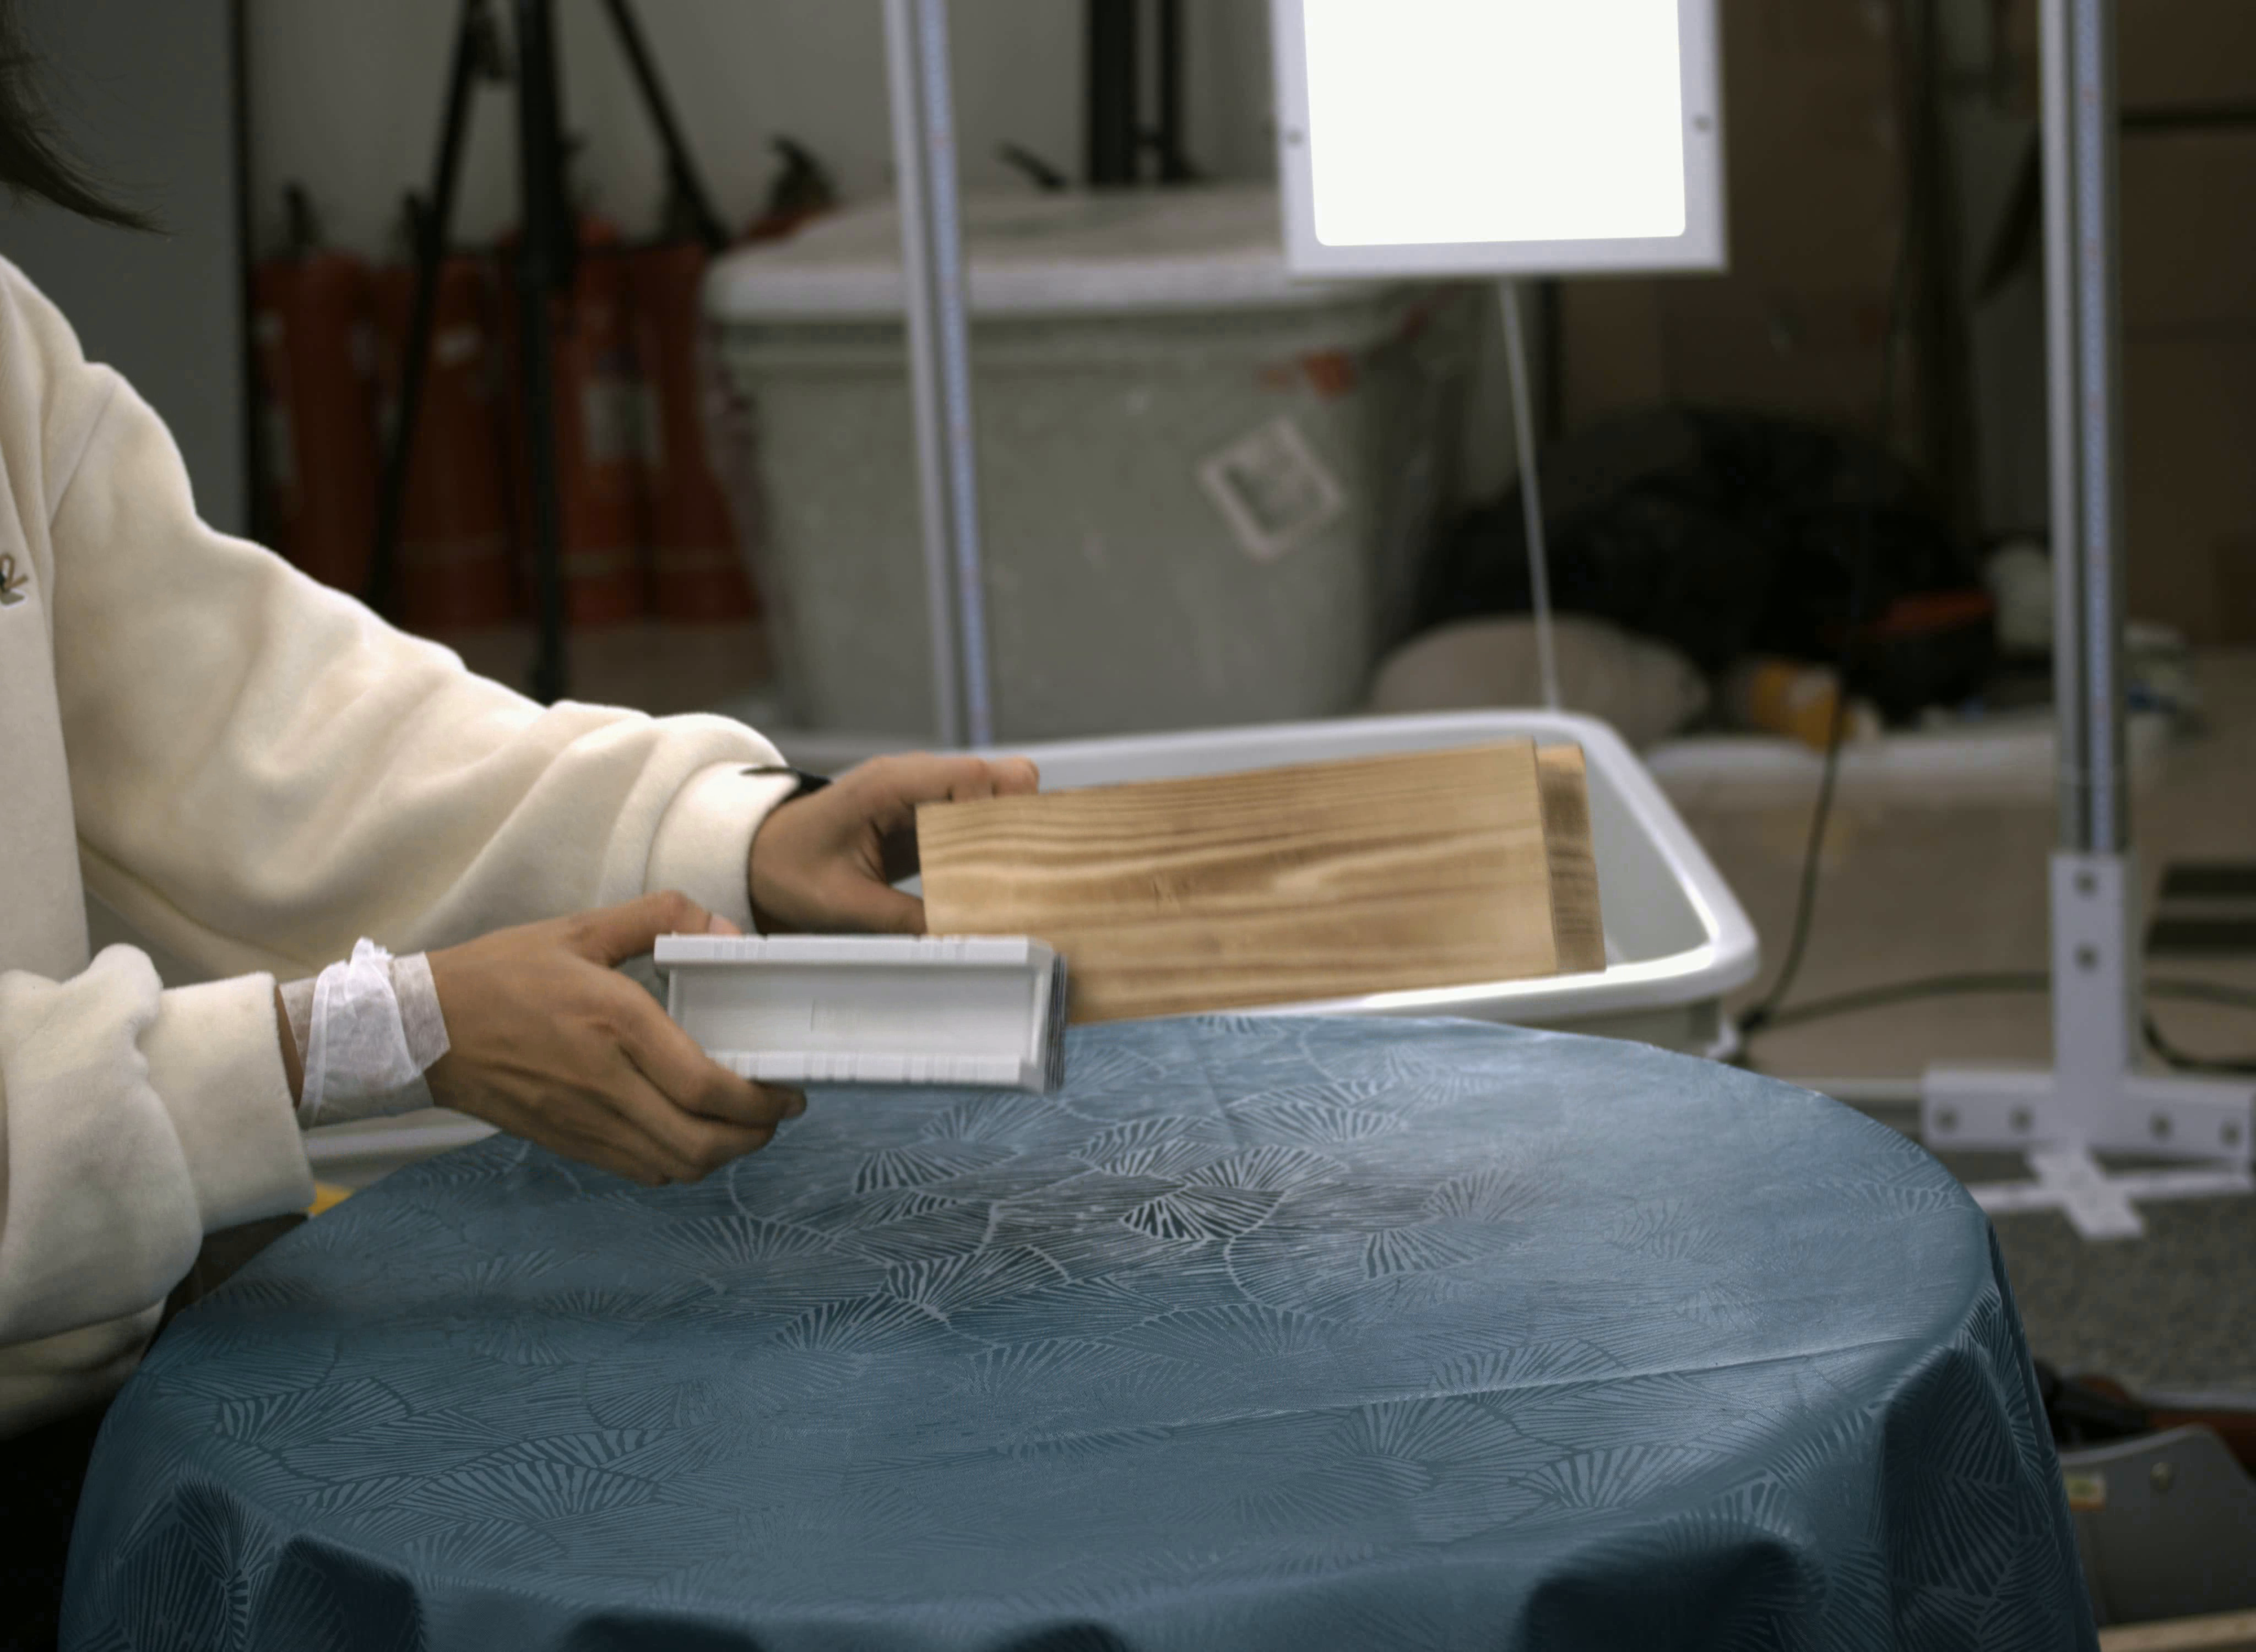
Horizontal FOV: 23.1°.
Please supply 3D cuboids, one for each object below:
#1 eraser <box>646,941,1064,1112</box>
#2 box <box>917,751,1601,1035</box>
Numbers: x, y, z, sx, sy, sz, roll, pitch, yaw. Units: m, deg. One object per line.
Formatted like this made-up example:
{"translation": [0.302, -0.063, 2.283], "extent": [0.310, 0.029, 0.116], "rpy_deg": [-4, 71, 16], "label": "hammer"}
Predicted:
{"translation": [-0.090, 0.067, 1.818], "extent": [0.136, 0.050, 0.046], "rpy_deg": [-2, -9, 21], "label": "eraser"}
{"translation": [0.046, 0.025, 1.855], "extent": [0.213, 0.080, 0.106], "rpy_deg": [-5, -2, 15], "label": "box"}
